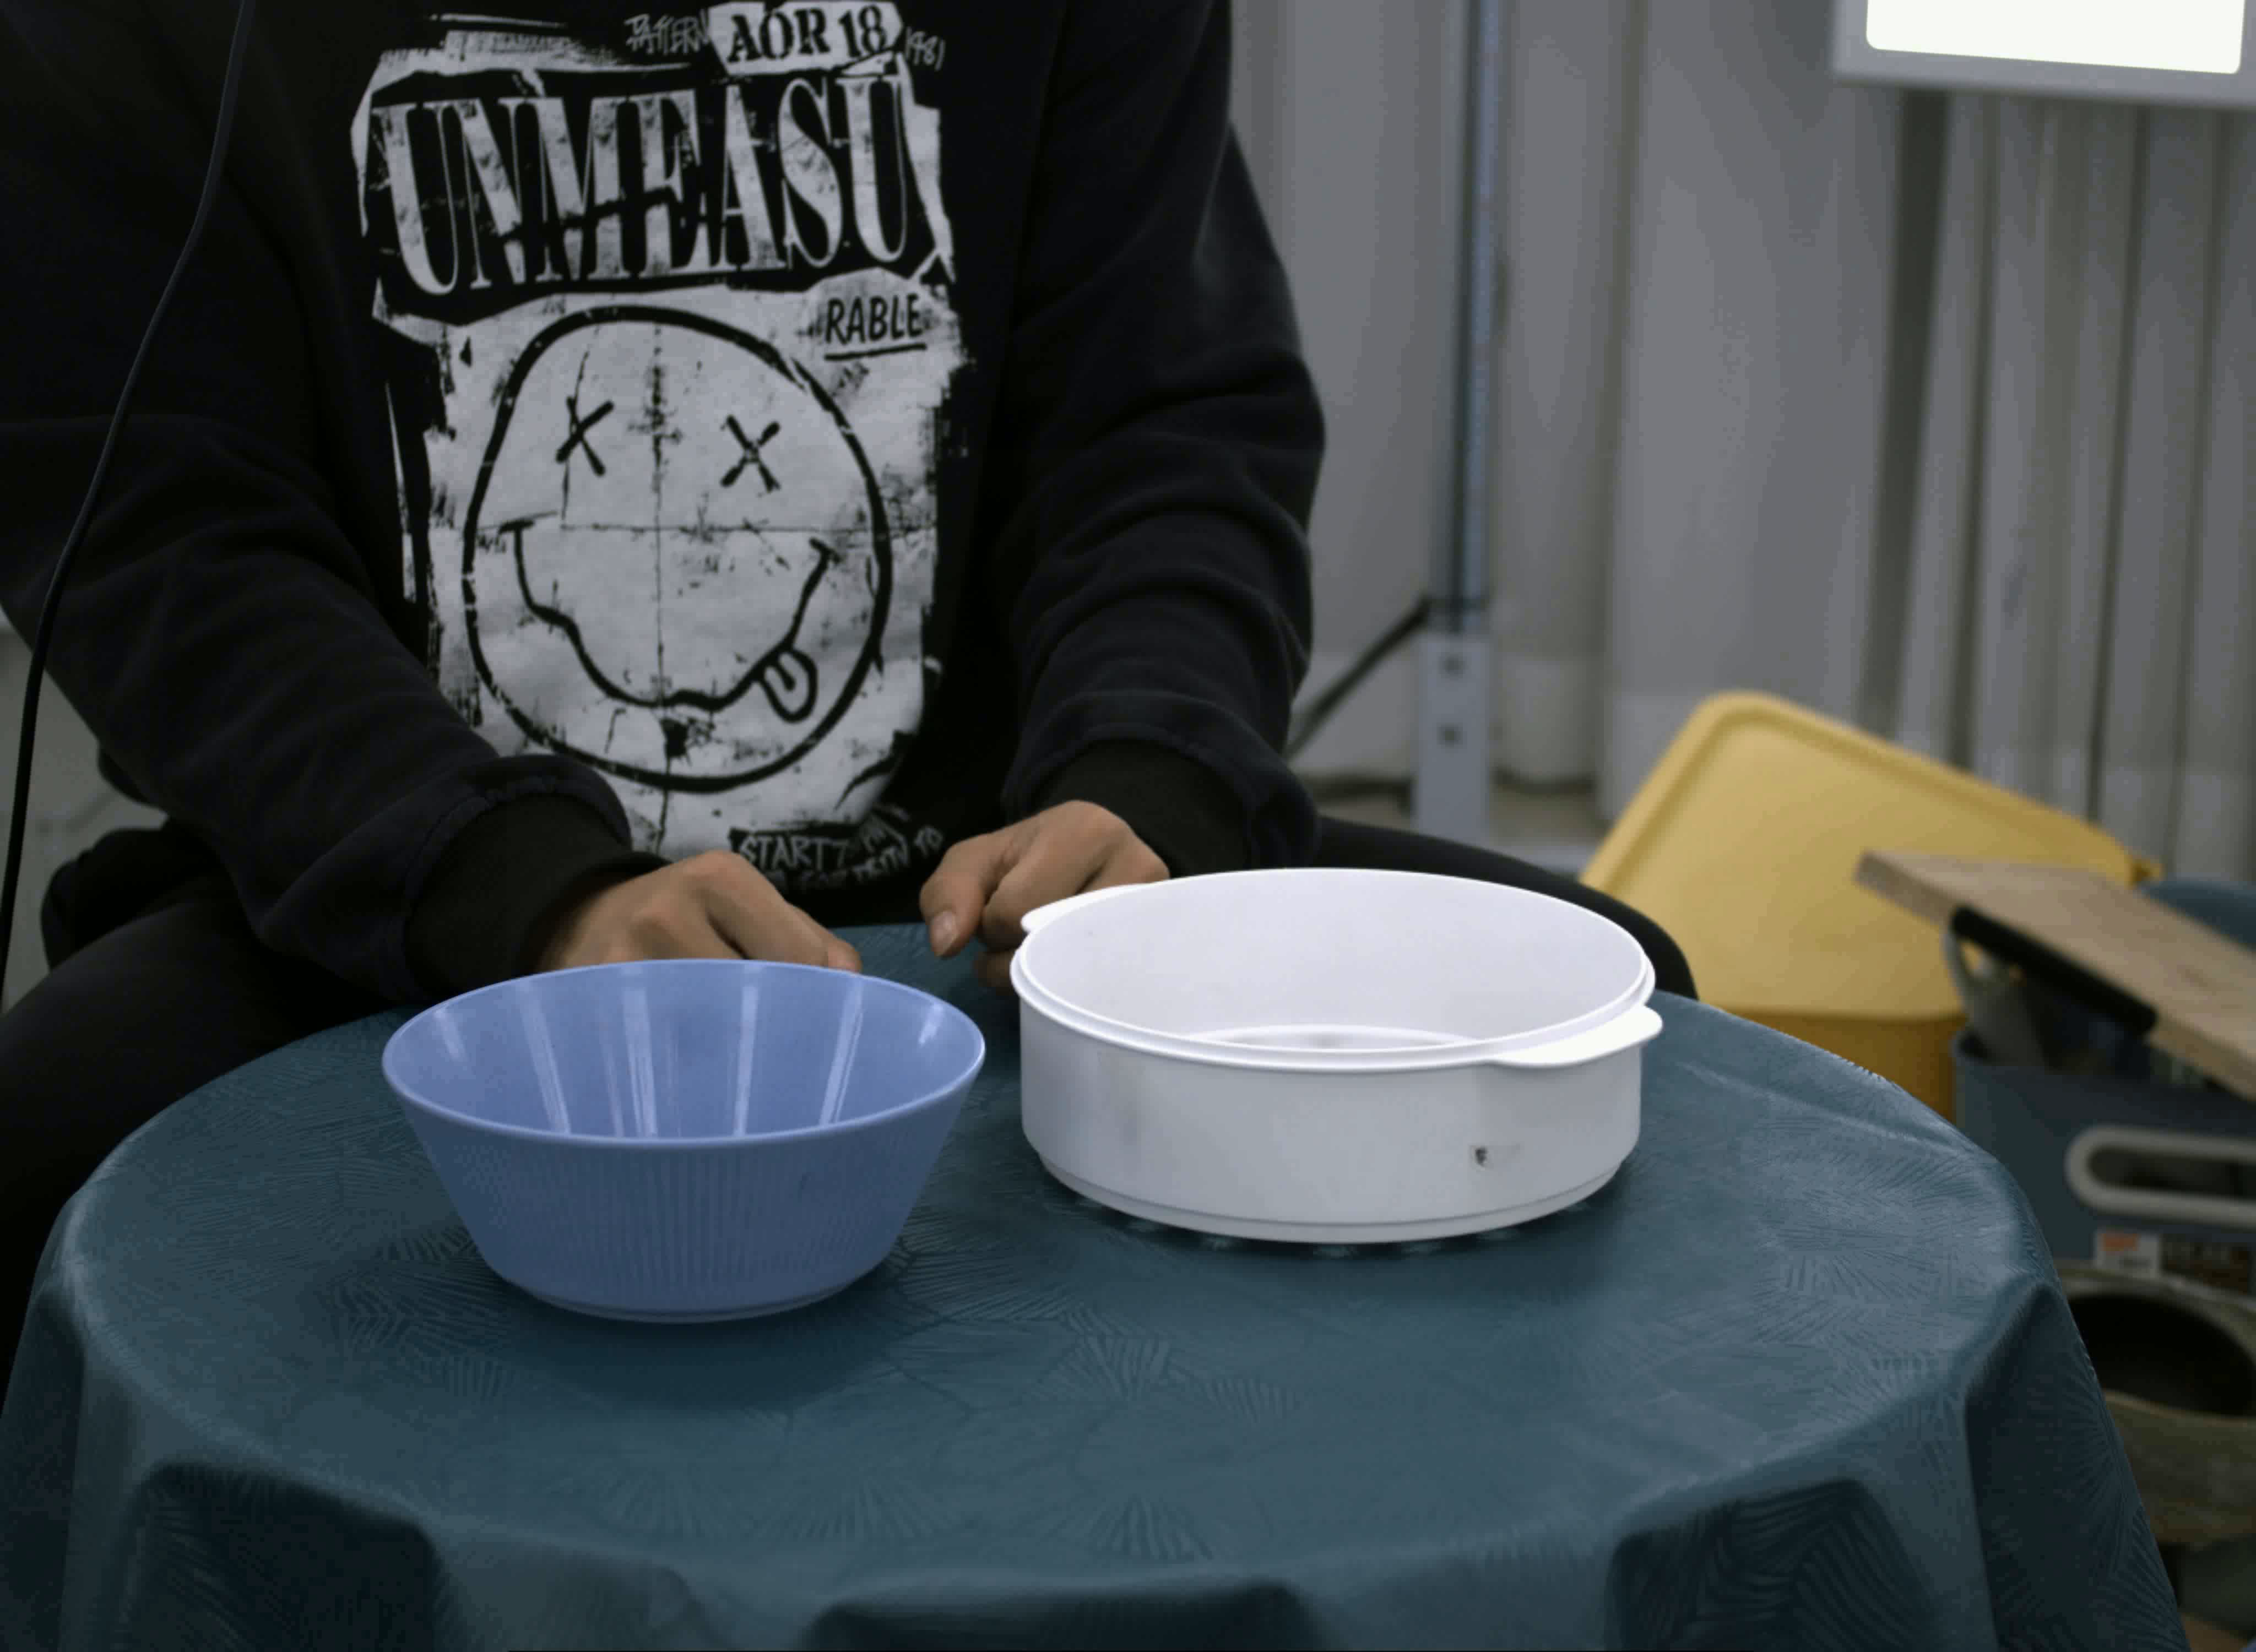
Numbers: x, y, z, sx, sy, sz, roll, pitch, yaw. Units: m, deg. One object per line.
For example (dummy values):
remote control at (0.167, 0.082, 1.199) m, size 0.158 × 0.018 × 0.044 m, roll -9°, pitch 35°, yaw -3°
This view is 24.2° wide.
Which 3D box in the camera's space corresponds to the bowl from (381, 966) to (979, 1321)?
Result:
bowl at (-0.131, 0.096, 1.551) m, size 0.175 × 0.071 × 0.175 m, roll 1°, pitch 15°, yaw 0°

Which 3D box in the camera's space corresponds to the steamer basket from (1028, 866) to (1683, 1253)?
steamer basket at (0.068, 0.073, 1.645) m, size 0.227 × 0.070 × 0.203 m, roll 17°, pitch 22°, yaw 39°
